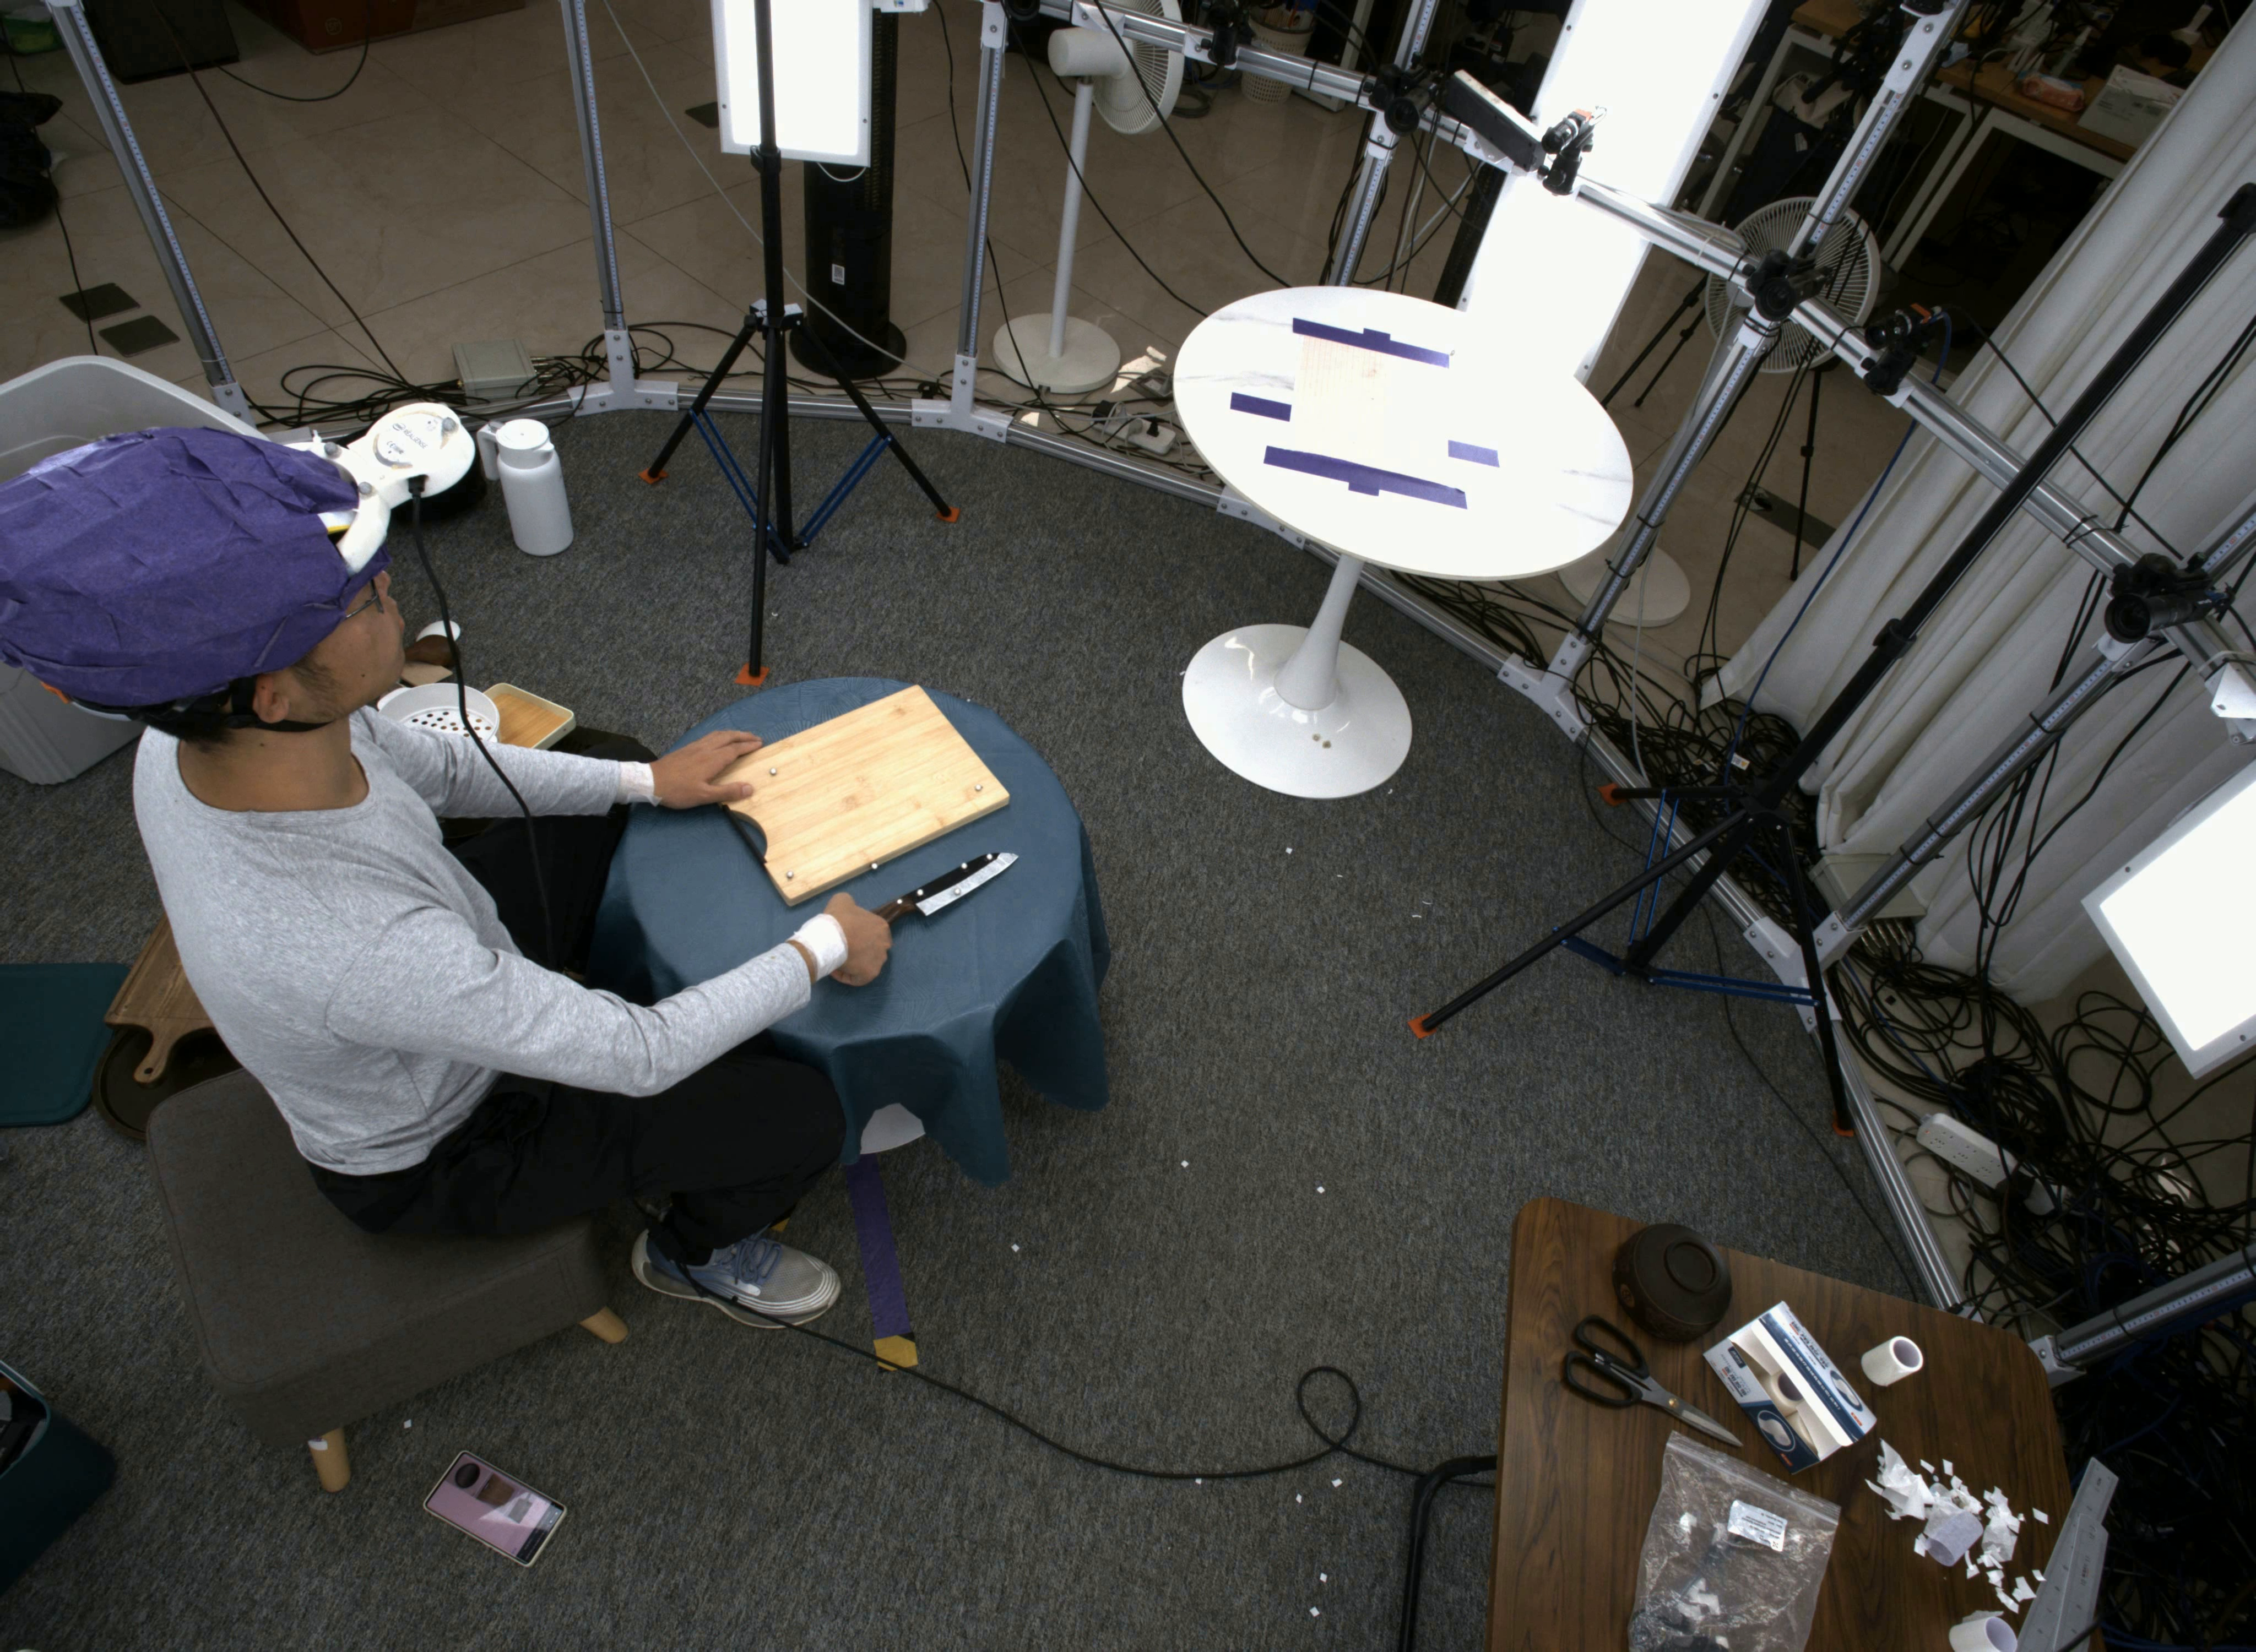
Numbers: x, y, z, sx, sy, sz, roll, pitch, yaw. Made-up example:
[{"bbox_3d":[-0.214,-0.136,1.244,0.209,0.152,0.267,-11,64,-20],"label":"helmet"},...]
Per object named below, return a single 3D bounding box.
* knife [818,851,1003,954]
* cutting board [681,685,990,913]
[{"bbox_3d":[-0.276,0.092,1.687,0.290,0.020,0.049,-29,57,-36],"label":"knife"},{"bbox_3d":[-0.393,-0.047,1.768,0.350,0.024,0.244,-29,65,-30],"label":"cutting board"}]
